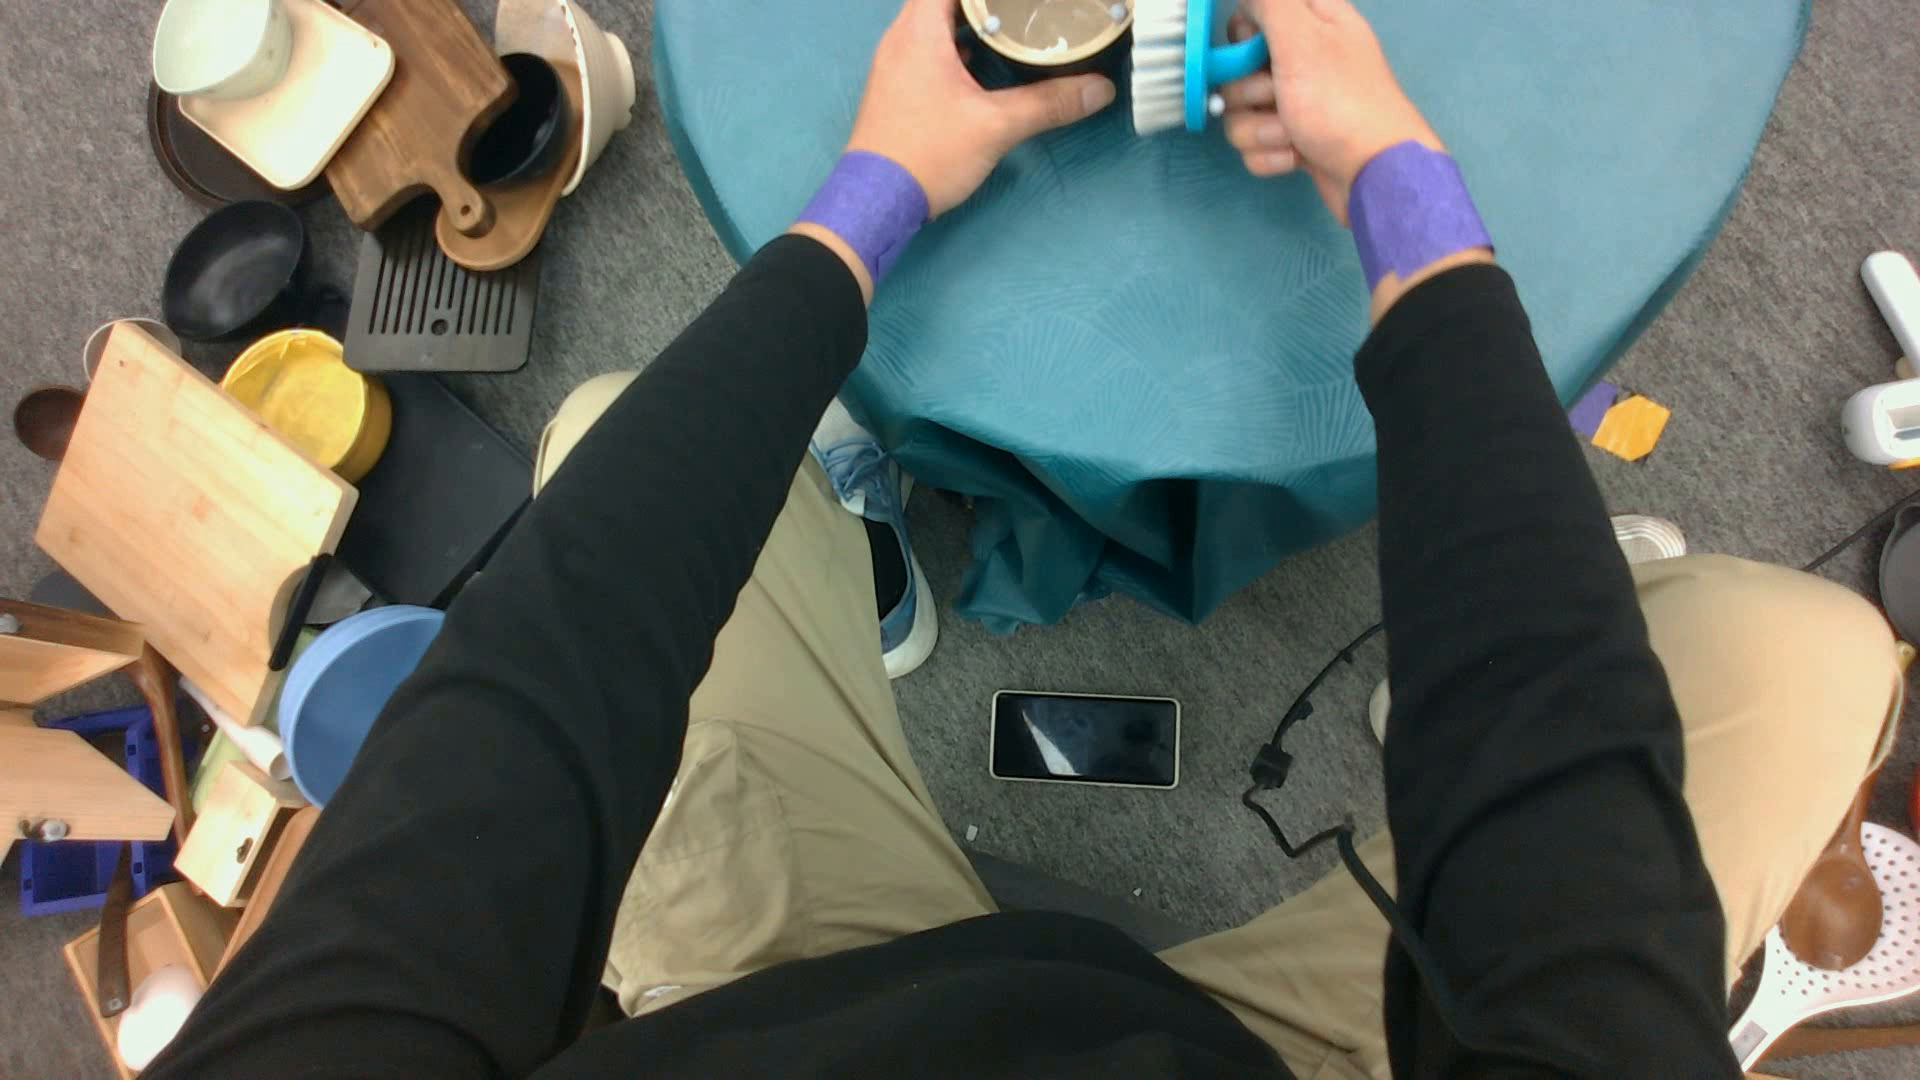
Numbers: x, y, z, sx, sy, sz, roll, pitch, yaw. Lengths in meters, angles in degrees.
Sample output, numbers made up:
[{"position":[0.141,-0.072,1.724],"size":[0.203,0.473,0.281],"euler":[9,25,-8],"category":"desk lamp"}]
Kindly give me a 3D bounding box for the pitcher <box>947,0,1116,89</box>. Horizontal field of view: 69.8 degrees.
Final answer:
[{"position":[0.040,-0.272,0.688],"size":[0.083,0.071,0.096],"euler":[11,82,14],"category":"pitcher"}]

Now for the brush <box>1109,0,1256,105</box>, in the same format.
[{"position":[0.111,-0.271,0.657],"size":[0.064,0.084,0.142],"euler":[8,68,8],"category":"brush"}]
